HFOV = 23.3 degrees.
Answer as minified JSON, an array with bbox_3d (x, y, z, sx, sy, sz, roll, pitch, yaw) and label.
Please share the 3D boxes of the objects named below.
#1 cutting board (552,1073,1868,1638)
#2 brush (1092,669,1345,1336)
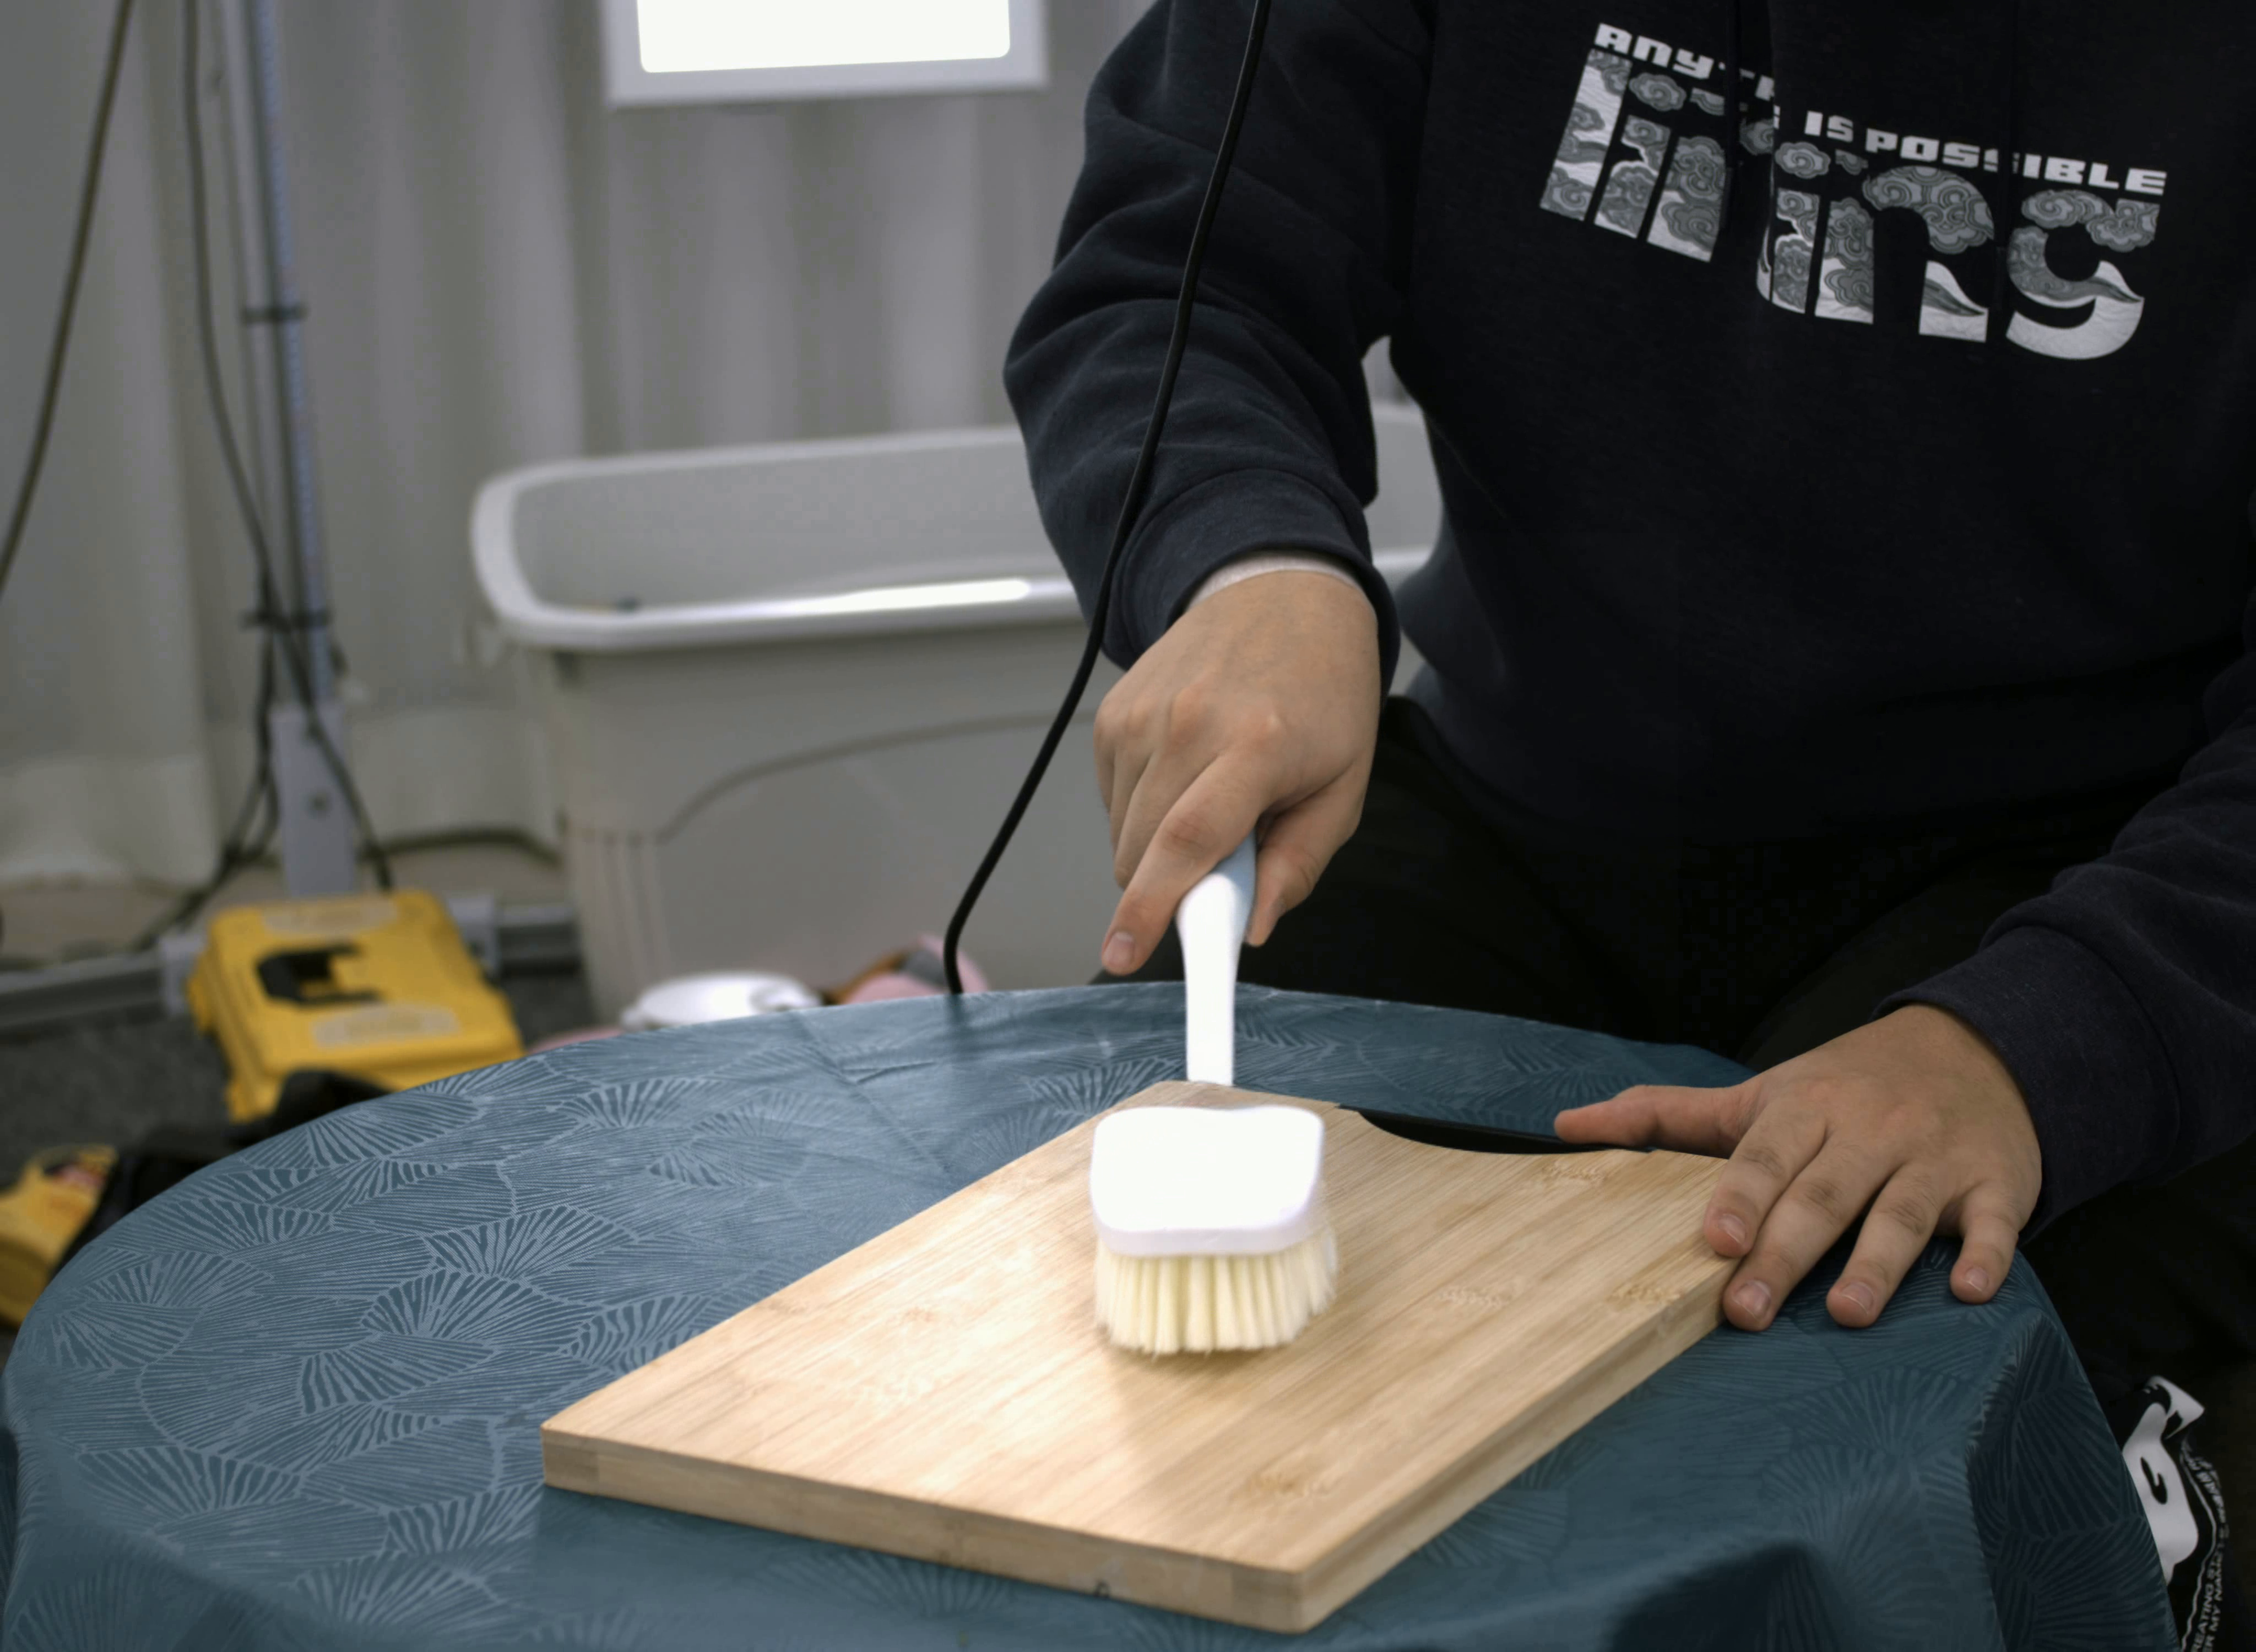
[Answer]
[{"bbox_3d":[0.031,0.143,1.576,0.251,0.023,0.349,7,18,30],"label":"cutting board"},{"bbox_3d":[0.031,0.064,1.657,0.082,0.084,0.329,27,26,-13],"label":"brush"}]
